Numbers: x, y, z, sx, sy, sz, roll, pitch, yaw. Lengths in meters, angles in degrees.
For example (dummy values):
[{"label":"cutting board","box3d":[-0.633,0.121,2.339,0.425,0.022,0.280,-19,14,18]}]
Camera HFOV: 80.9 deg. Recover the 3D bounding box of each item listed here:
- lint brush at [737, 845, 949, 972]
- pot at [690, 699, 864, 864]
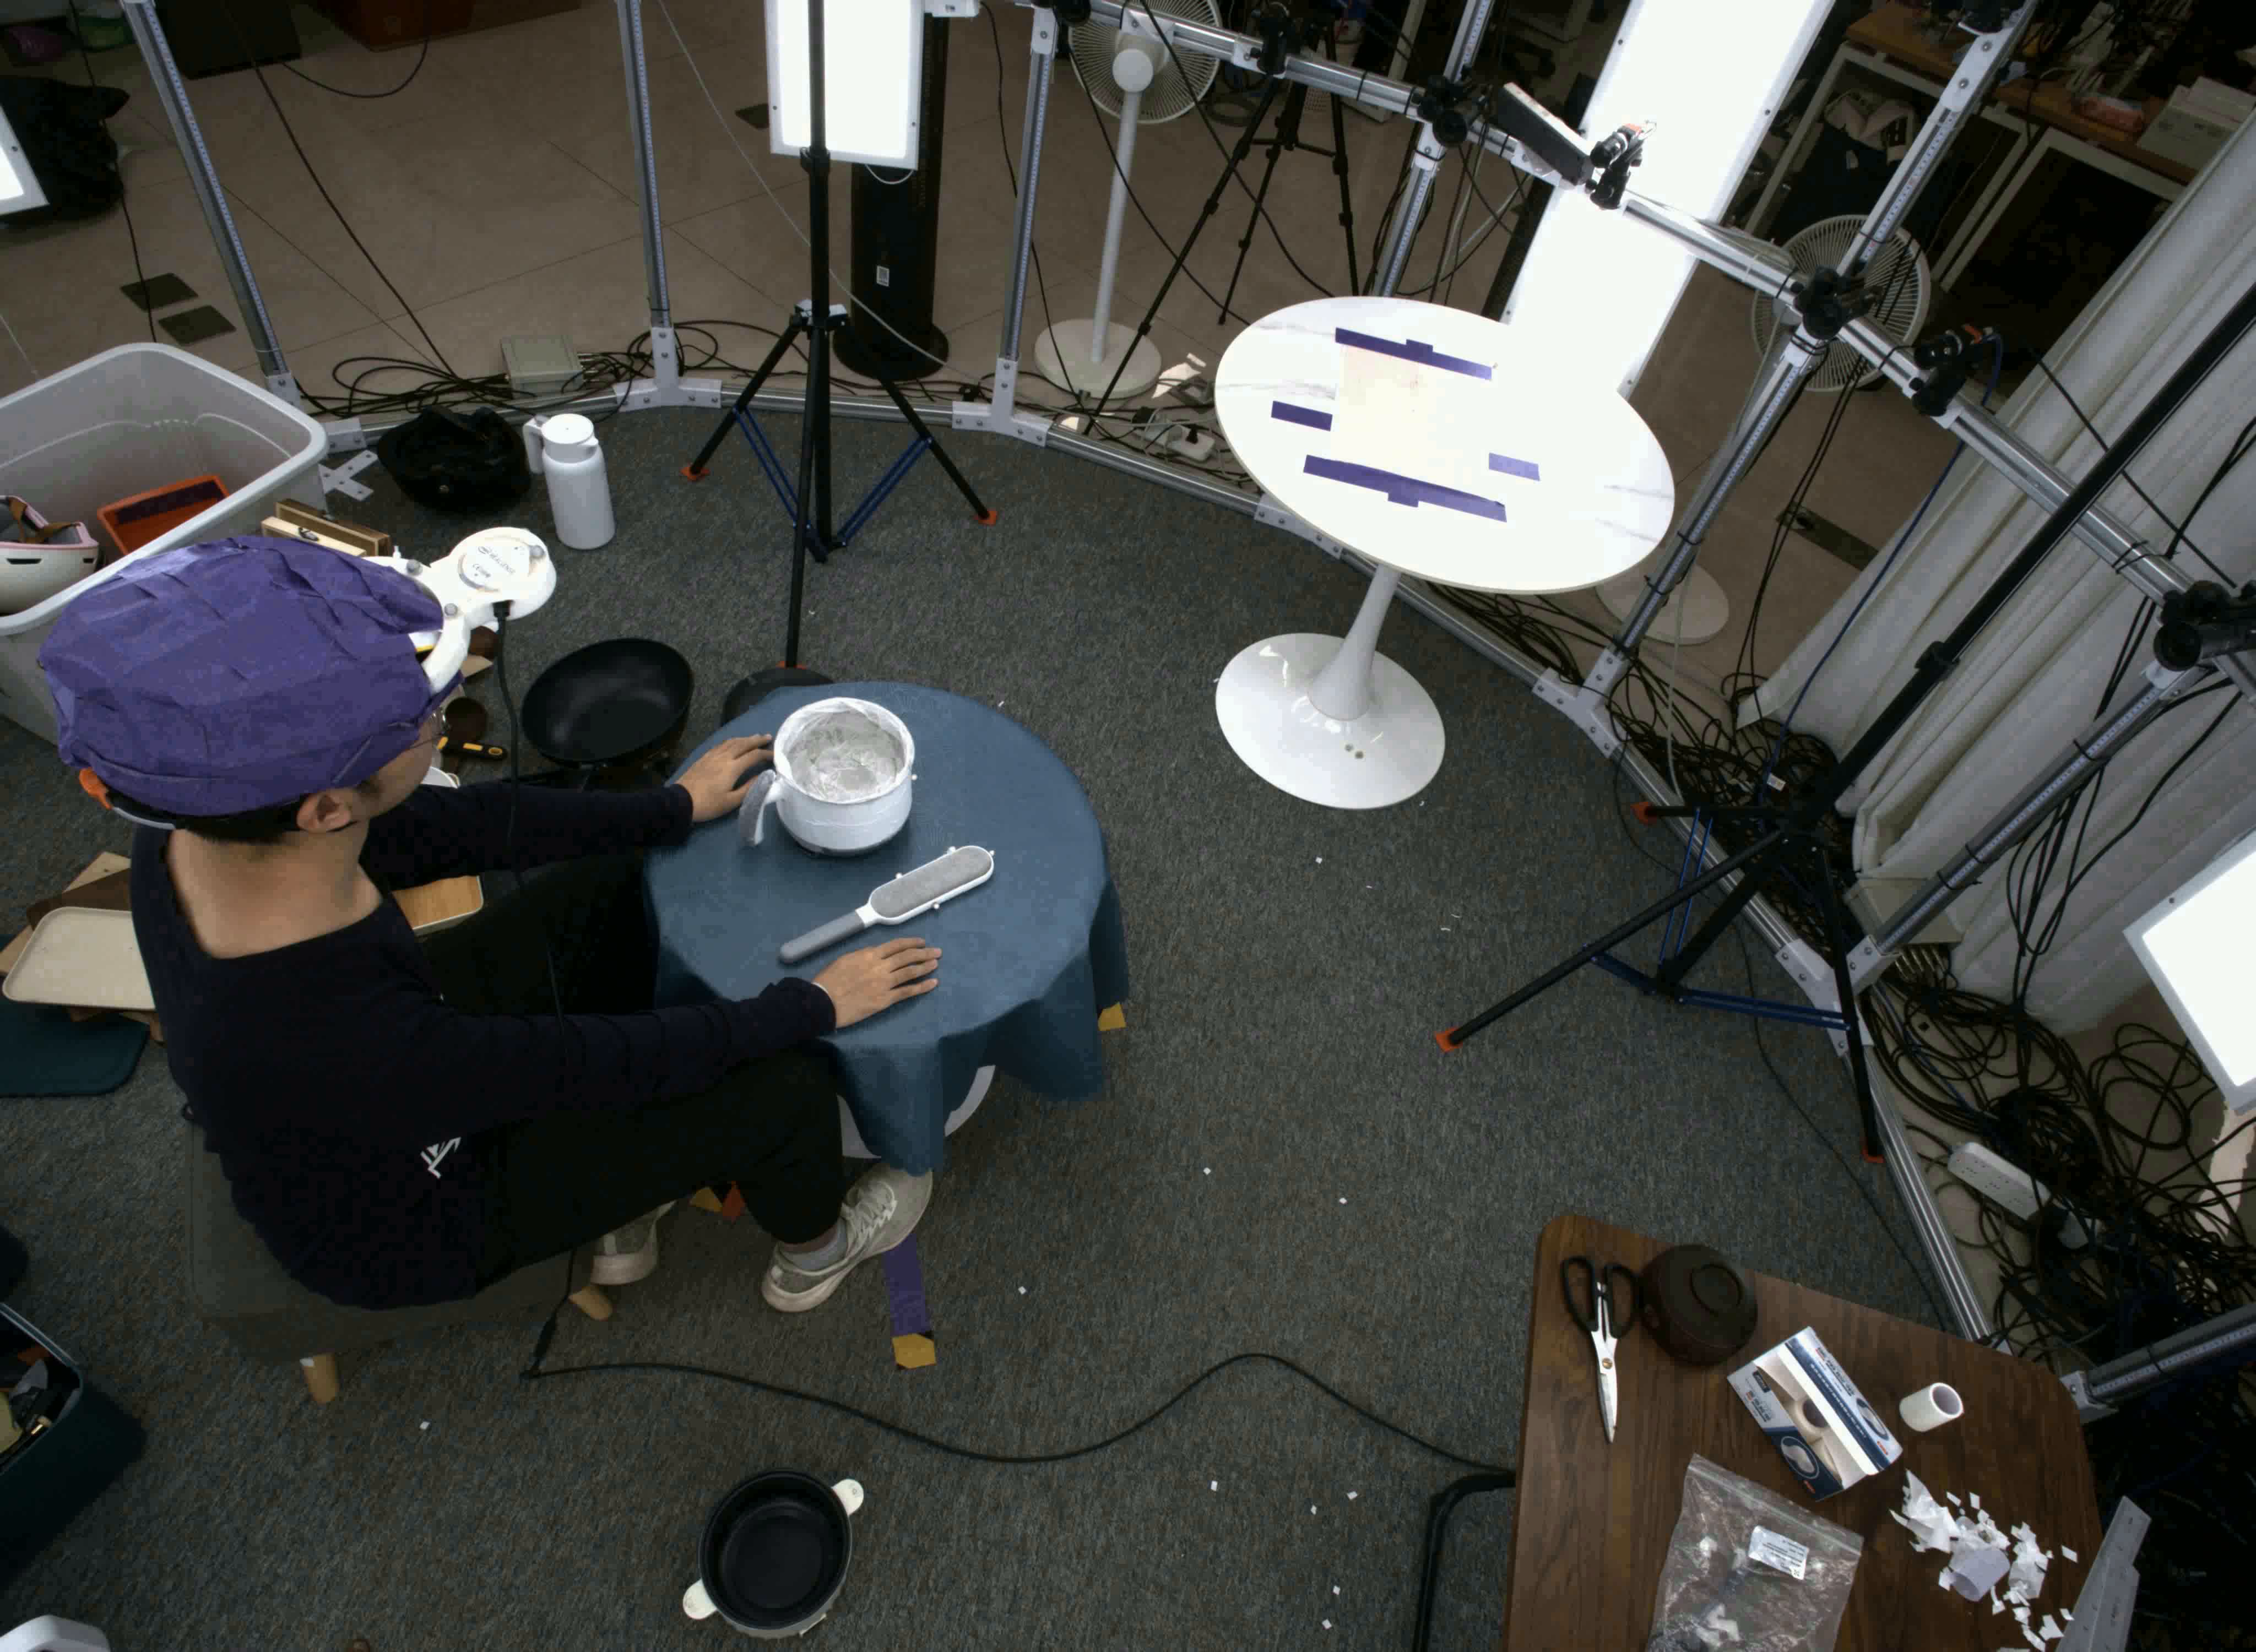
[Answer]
[{"label":"lint brush","box3d":[-0.360,0.102,1.659,0.310,0.021,0.059,-29,72,-30]},{"label":"pot","box3d":[-0.455,-0.045,1.671,0.235,0.140,0.174,-26,61,-29]}]
